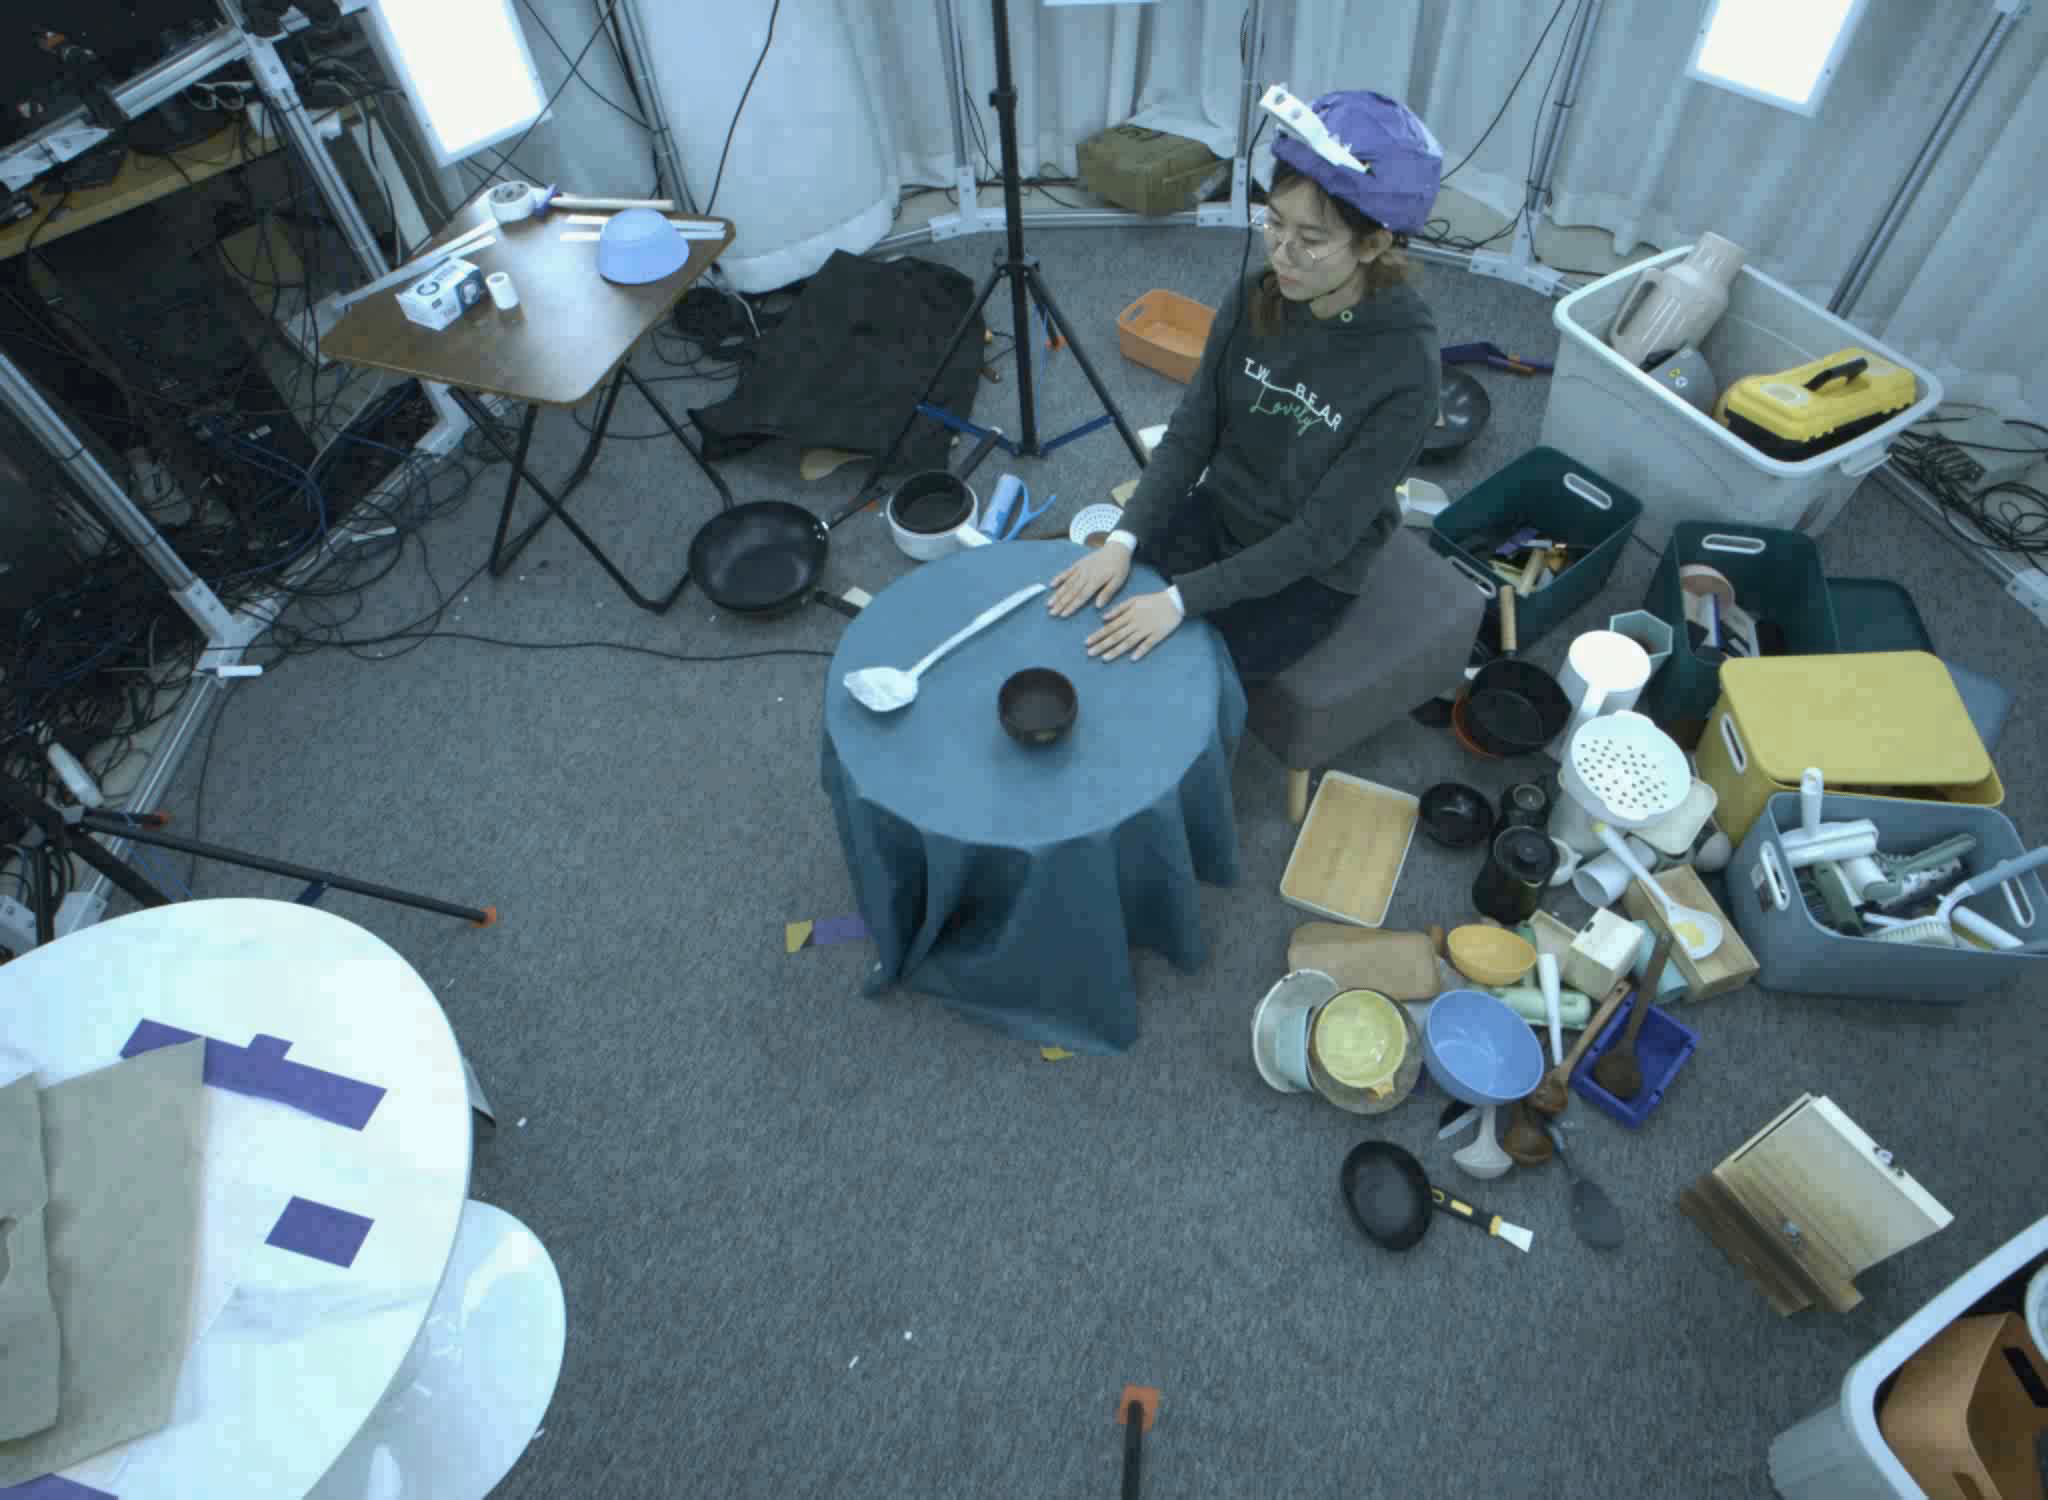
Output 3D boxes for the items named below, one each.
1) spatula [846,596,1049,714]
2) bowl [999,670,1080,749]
[{"bbox_3d":[-0.107,-0.161,1.890,0.367,0.045,0.097,-36,59,-21],"label":"spatula"},{"bbox_3d":[0.023,-0.051,1.789,0.118,0.070,0.117,0,55,1],"label":"bowl"}]
